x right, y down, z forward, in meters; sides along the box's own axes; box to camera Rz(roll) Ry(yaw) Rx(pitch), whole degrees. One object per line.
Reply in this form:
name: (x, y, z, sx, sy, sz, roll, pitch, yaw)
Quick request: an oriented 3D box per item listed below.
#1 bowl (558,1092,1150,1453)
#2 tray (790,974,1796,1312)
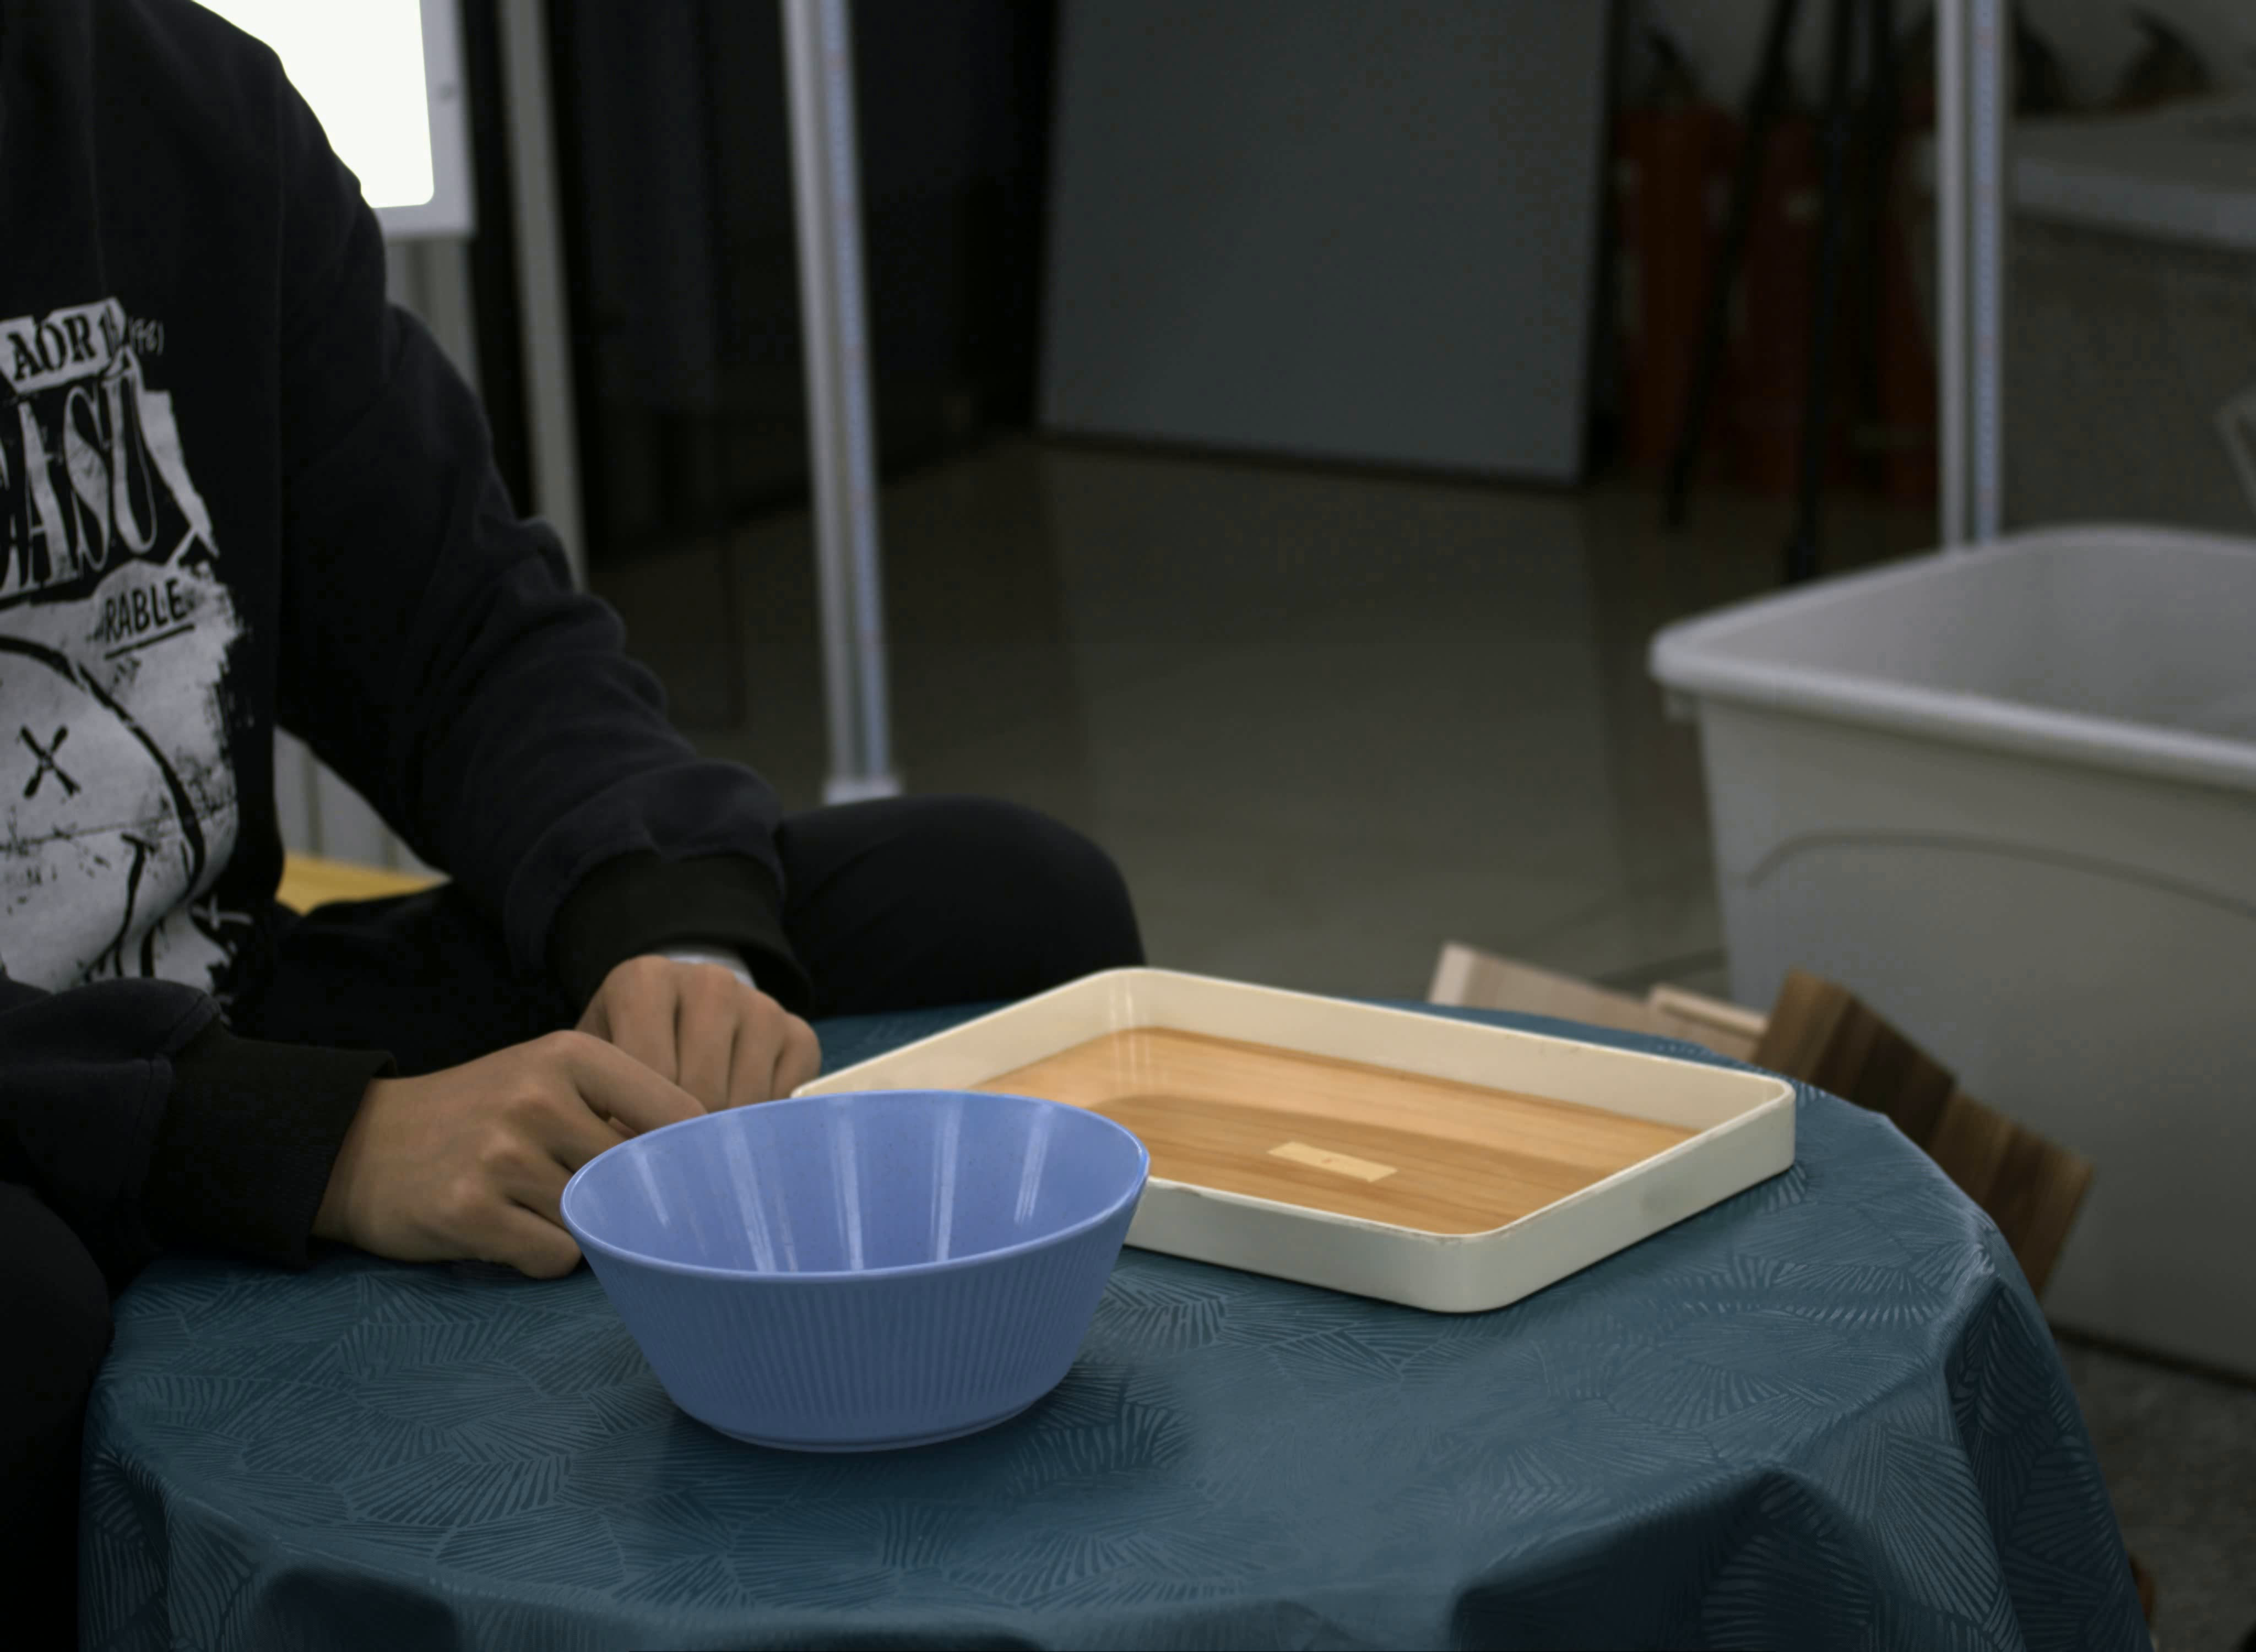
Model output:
bowl: (-0.079, 0.134, 1.593, 0.174, 0.071, 0.176, -3, 14, 0)
tray: (0.052, 0.101, 1.782, 0.303, 0.028, 0.188, 8, 18, 41)
